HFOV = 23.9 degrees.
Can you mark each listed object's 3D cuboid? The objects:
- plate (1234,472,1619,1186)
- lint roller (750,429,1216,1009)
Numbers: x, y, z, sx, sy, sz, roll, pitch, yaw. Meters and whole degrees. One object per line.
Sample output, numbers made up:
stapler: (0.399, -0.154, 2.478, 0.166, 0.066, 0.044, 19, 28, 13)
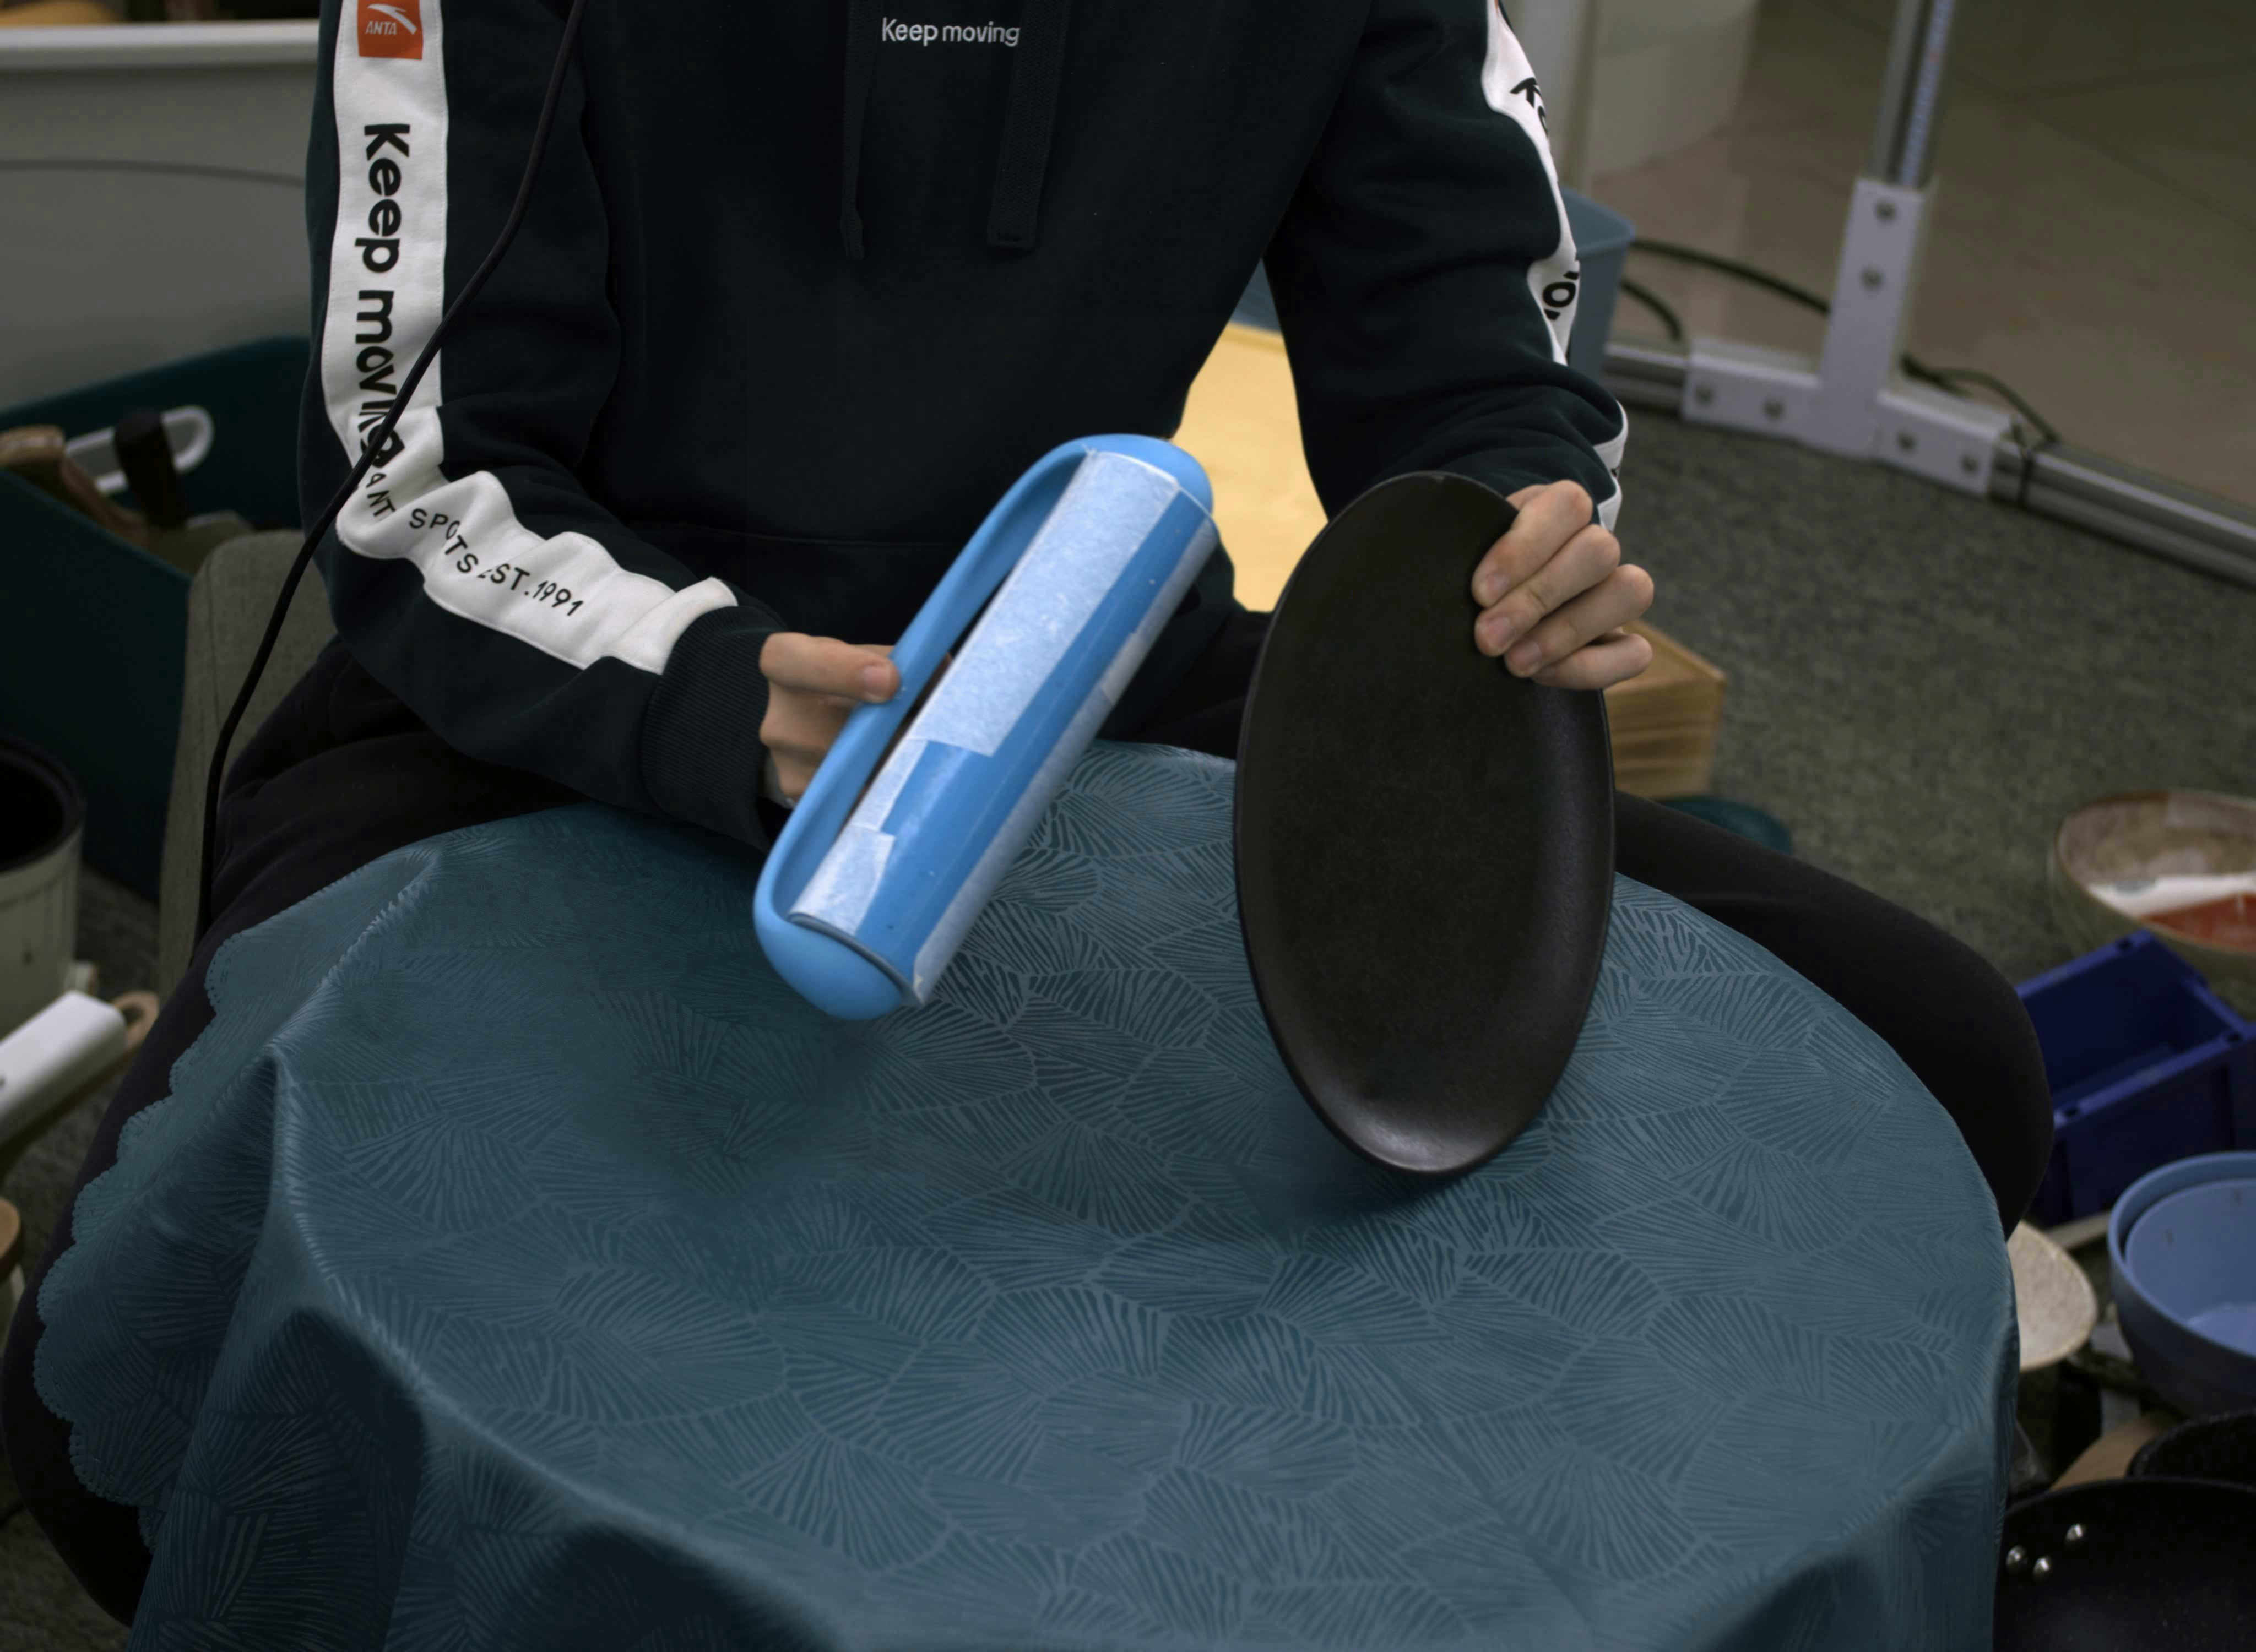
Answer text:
plate: (0.098, 0.001, 1.821, 0.023, 0.244, 0.244, -2, 17, 36)
lint roller: (-0.064, -0.028, 1.820, 0.067, 0.229, 0.180, 36, -20, -13)
